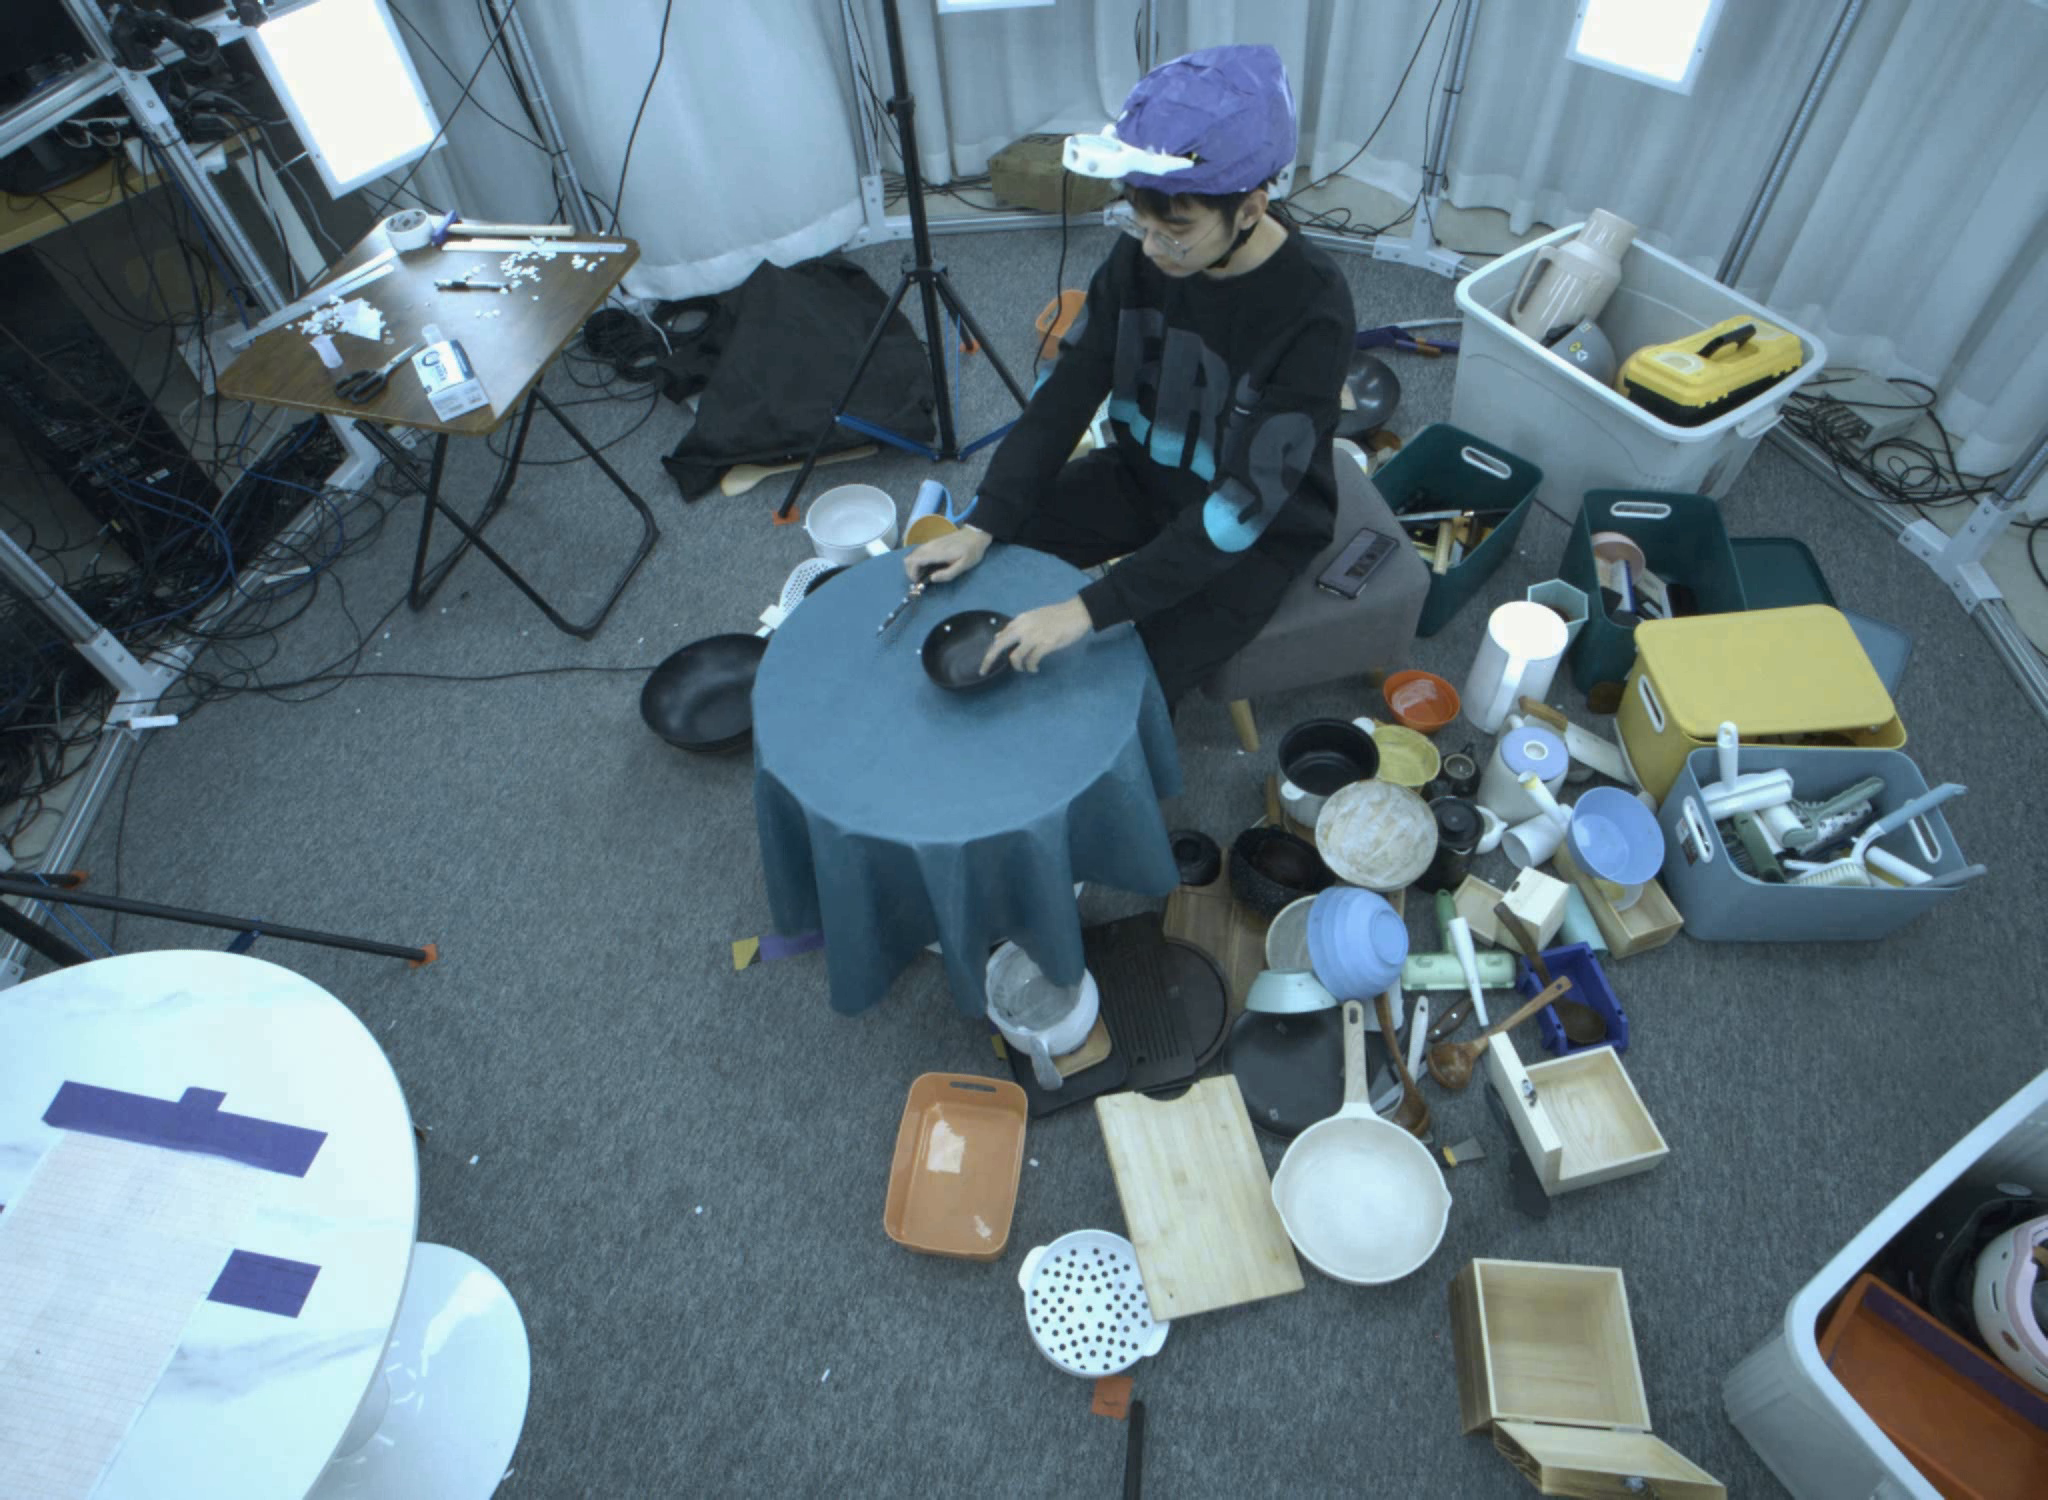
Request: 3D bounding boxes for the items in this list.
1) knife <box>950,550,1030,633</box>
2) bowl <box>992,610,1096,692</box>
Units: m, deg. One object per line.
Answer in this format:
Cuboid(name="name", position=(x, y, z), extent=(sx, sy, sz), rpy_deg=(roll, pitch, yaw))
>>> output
Cuboid(name="knife", position=(-0.055, -0.250, 1.935), extent=(0.025, 0.017, 0.226), rpy_deg=(-8, 34, 48))
Cuboid(name="bowl", position=(0.031, -0.140, 1.845), extent=(0.171, 0.067, 0.135), rpy_deg=(-39, 63, -24))
